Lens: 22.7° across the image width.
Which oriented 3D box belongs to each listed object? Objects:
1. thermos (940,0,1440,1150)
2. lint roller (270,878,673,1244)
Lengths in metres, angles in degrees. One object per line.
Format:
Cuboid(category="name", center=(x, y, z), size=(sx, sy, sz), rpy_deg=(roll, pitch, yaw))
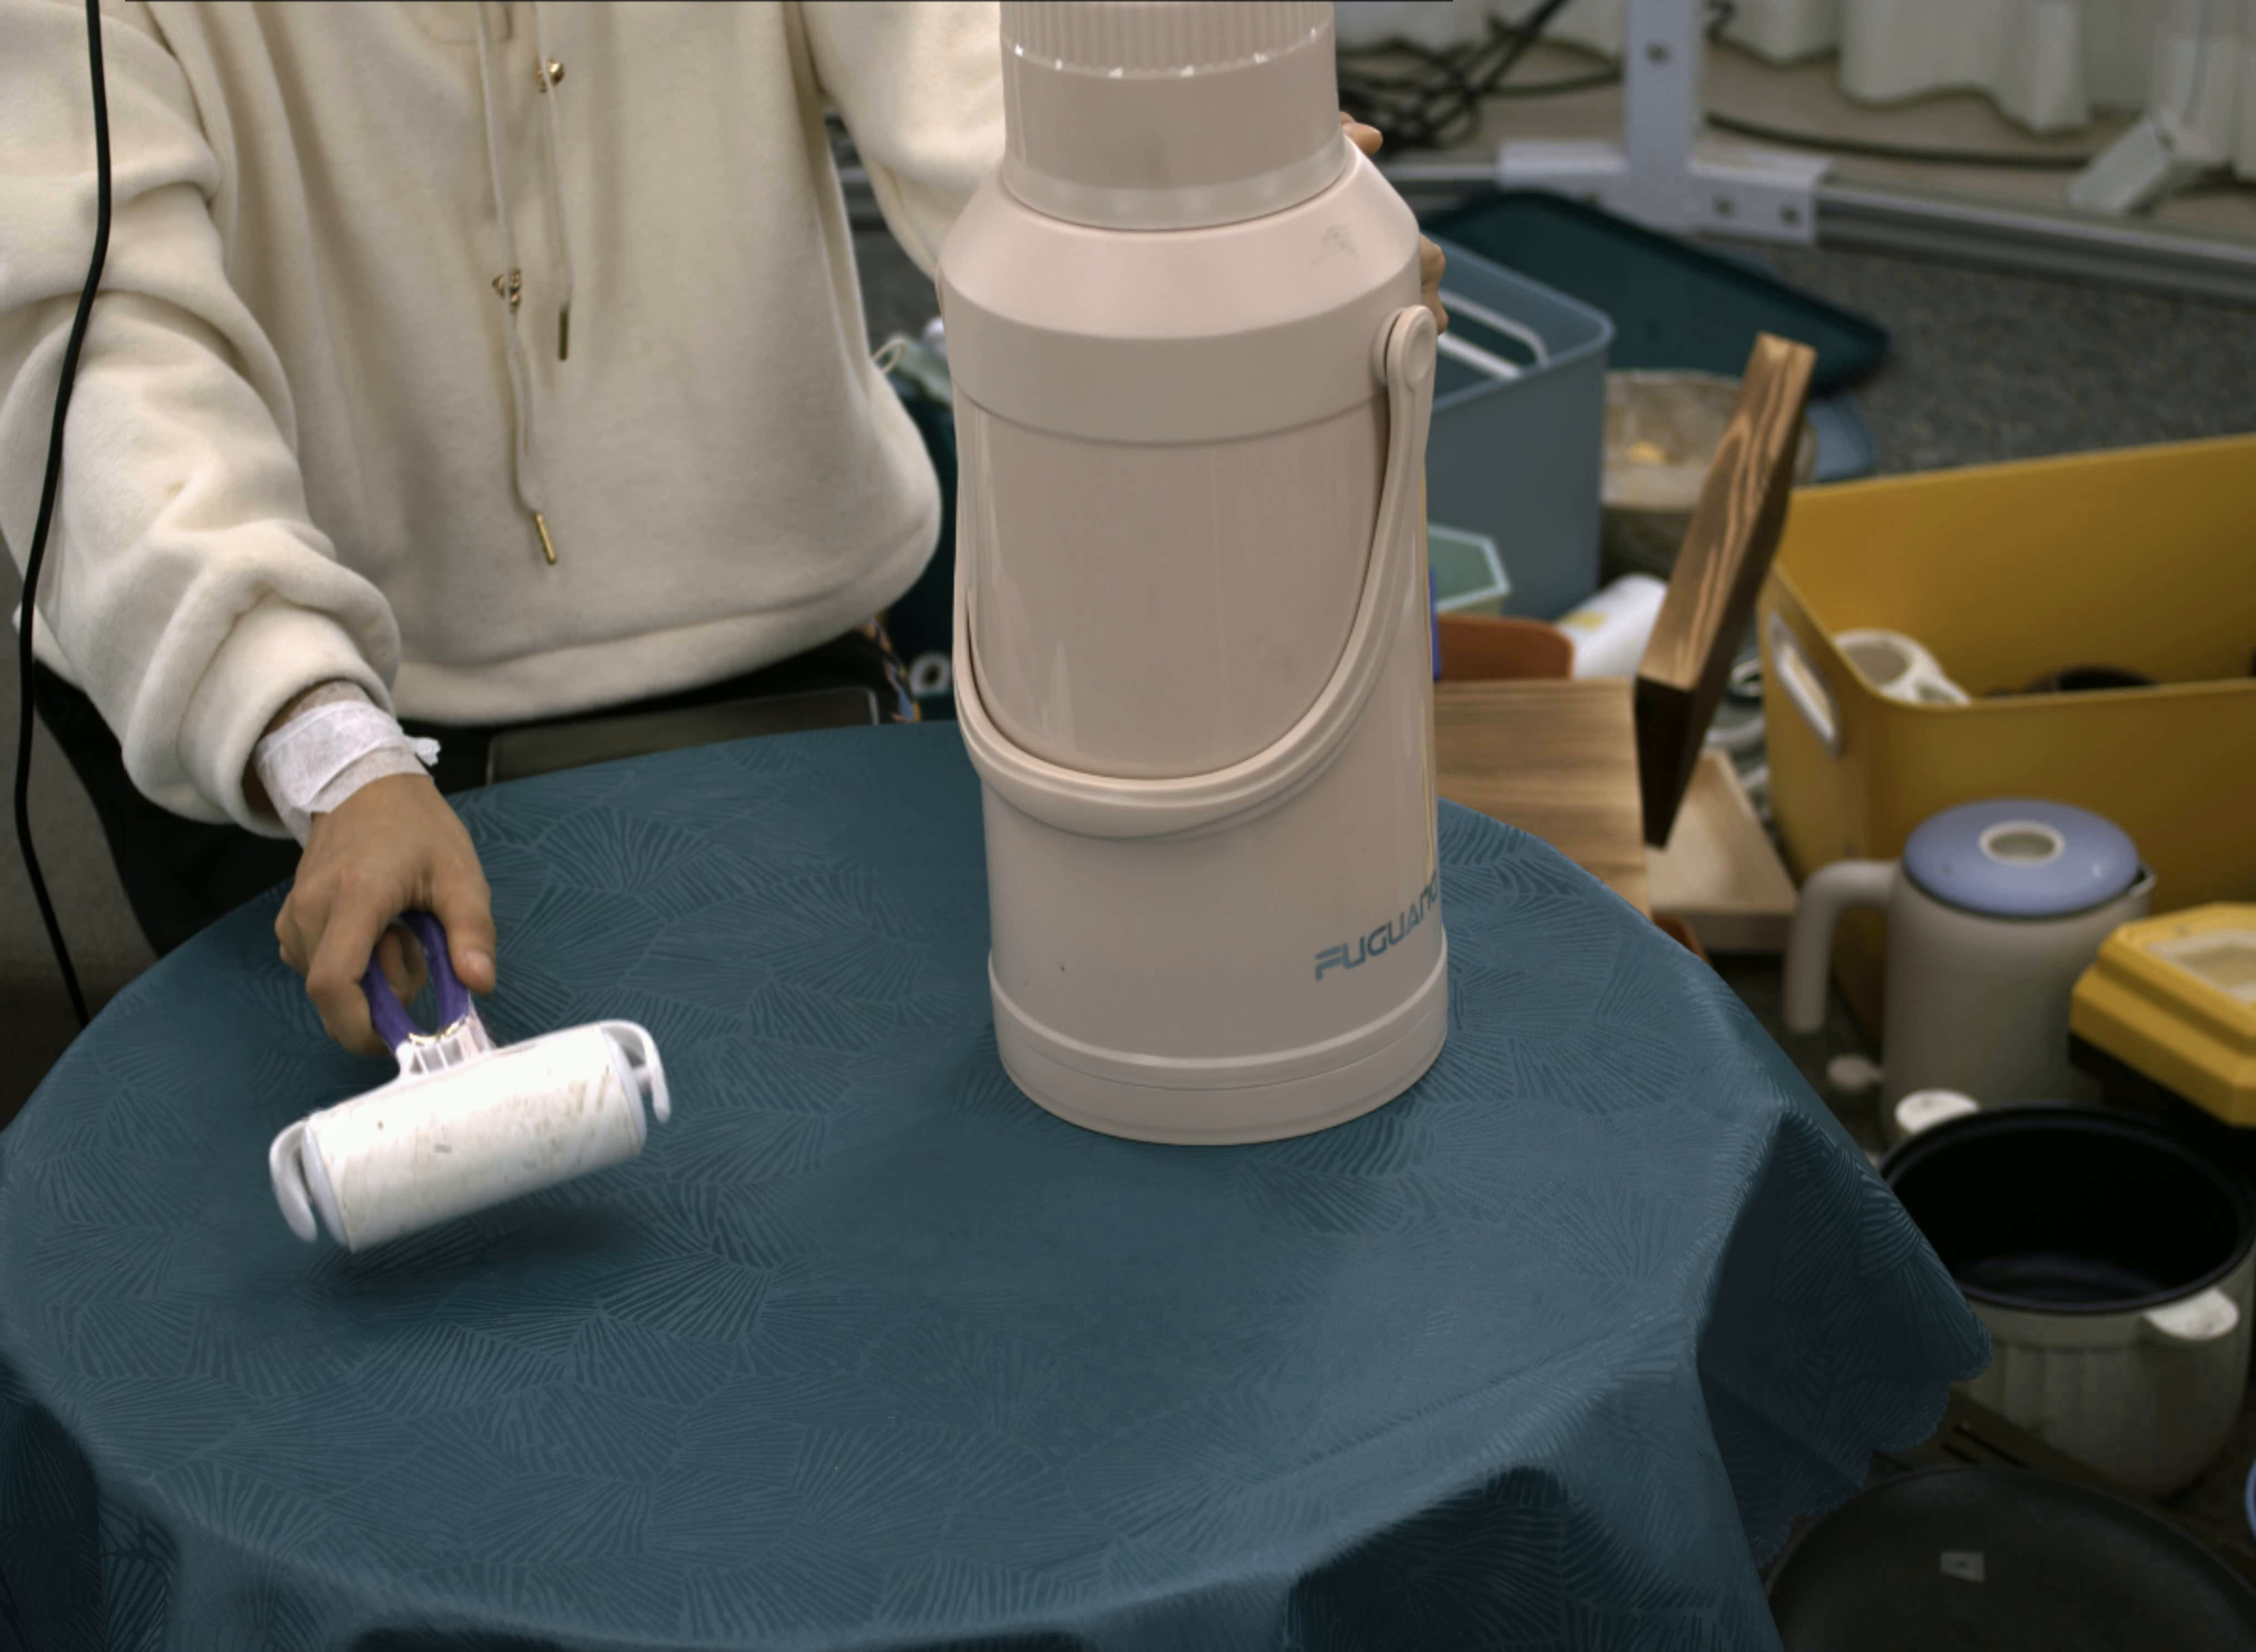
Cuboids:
Cuboid(category="thermos", center=(0.030, -0.109, 1.878), size=(0.174, 0.402, 0.210), rpy_deg=(11, 29, 28))
Cuboid(category="lint roller", center=(-0.232, 0.060, 1.877), size=(0.133, 0.049, 0.183), rpy_deg=(-17, 41, -9))
